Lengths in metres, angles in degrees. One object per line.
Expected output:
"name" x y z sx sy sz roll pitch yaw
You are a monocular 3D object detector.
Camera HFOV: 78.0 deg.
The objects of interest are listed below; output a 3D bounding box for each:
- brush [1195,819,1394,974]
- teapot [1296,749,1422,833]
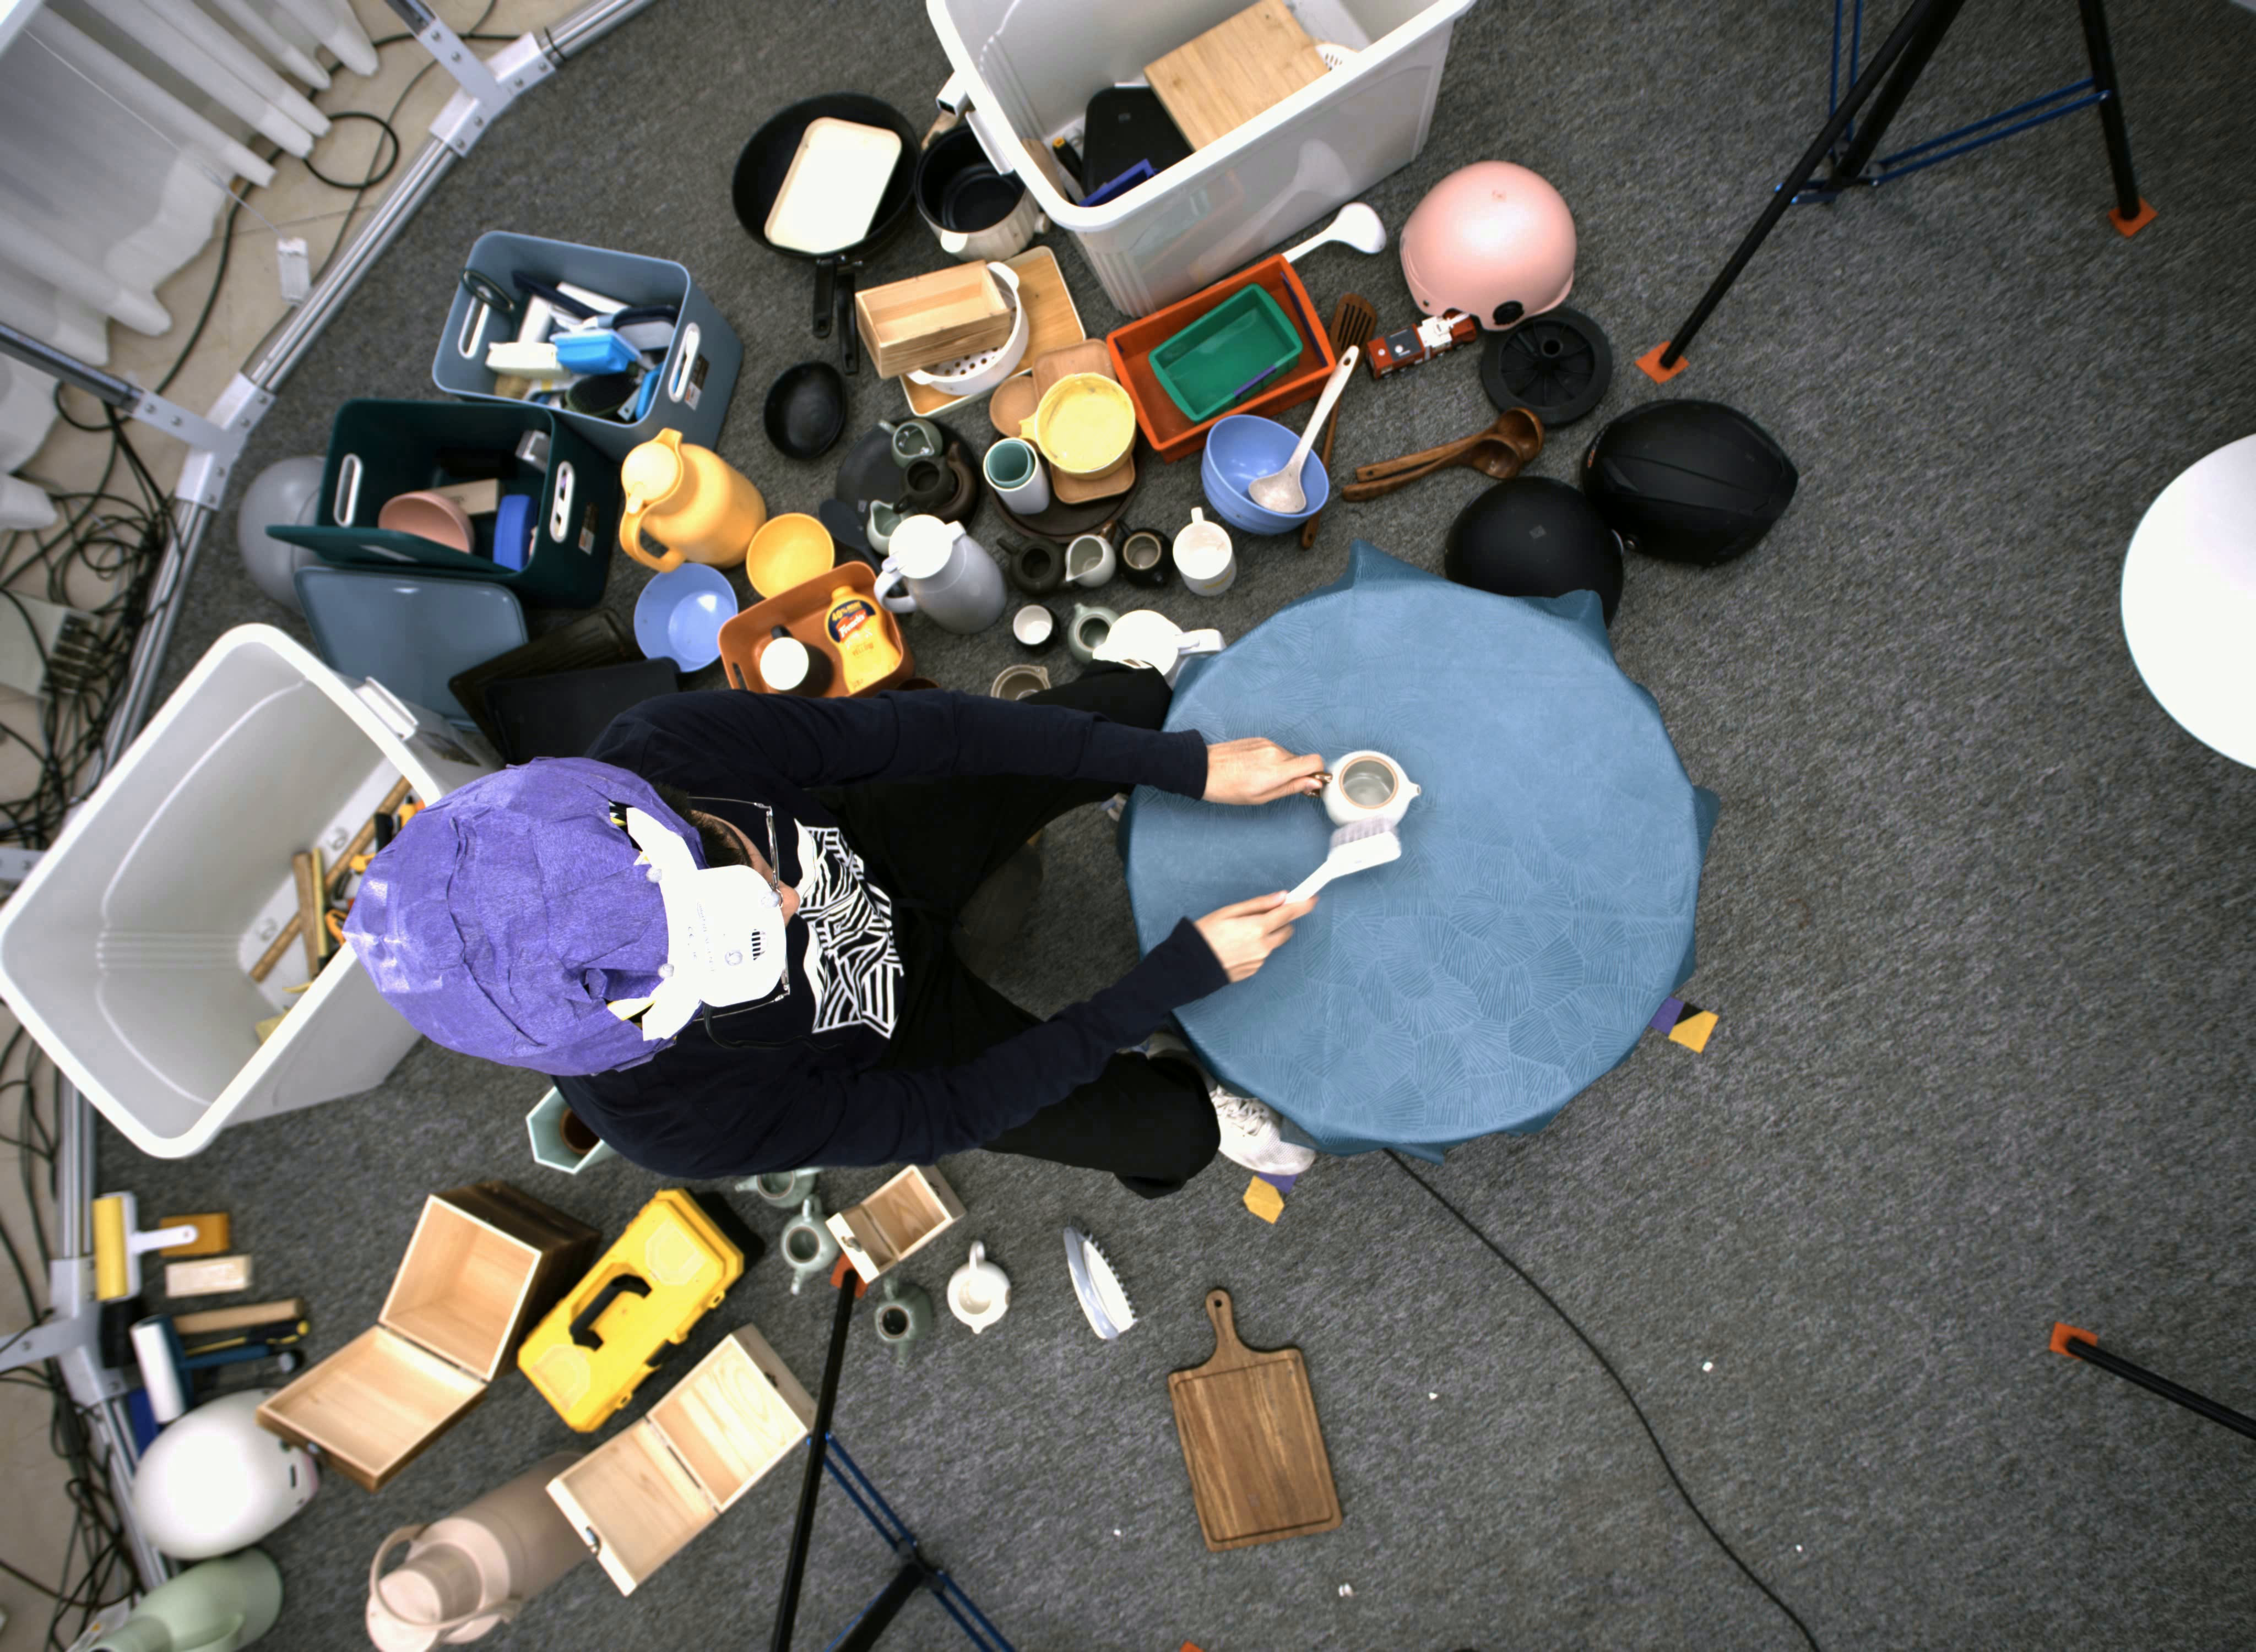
"brush" 0.165 0.069 1.412 0.245 0.035 0.049 -33 51 9
"teapot" 0.239 -0.038 1.434 0.128 0.060 0.090 6 72 6
